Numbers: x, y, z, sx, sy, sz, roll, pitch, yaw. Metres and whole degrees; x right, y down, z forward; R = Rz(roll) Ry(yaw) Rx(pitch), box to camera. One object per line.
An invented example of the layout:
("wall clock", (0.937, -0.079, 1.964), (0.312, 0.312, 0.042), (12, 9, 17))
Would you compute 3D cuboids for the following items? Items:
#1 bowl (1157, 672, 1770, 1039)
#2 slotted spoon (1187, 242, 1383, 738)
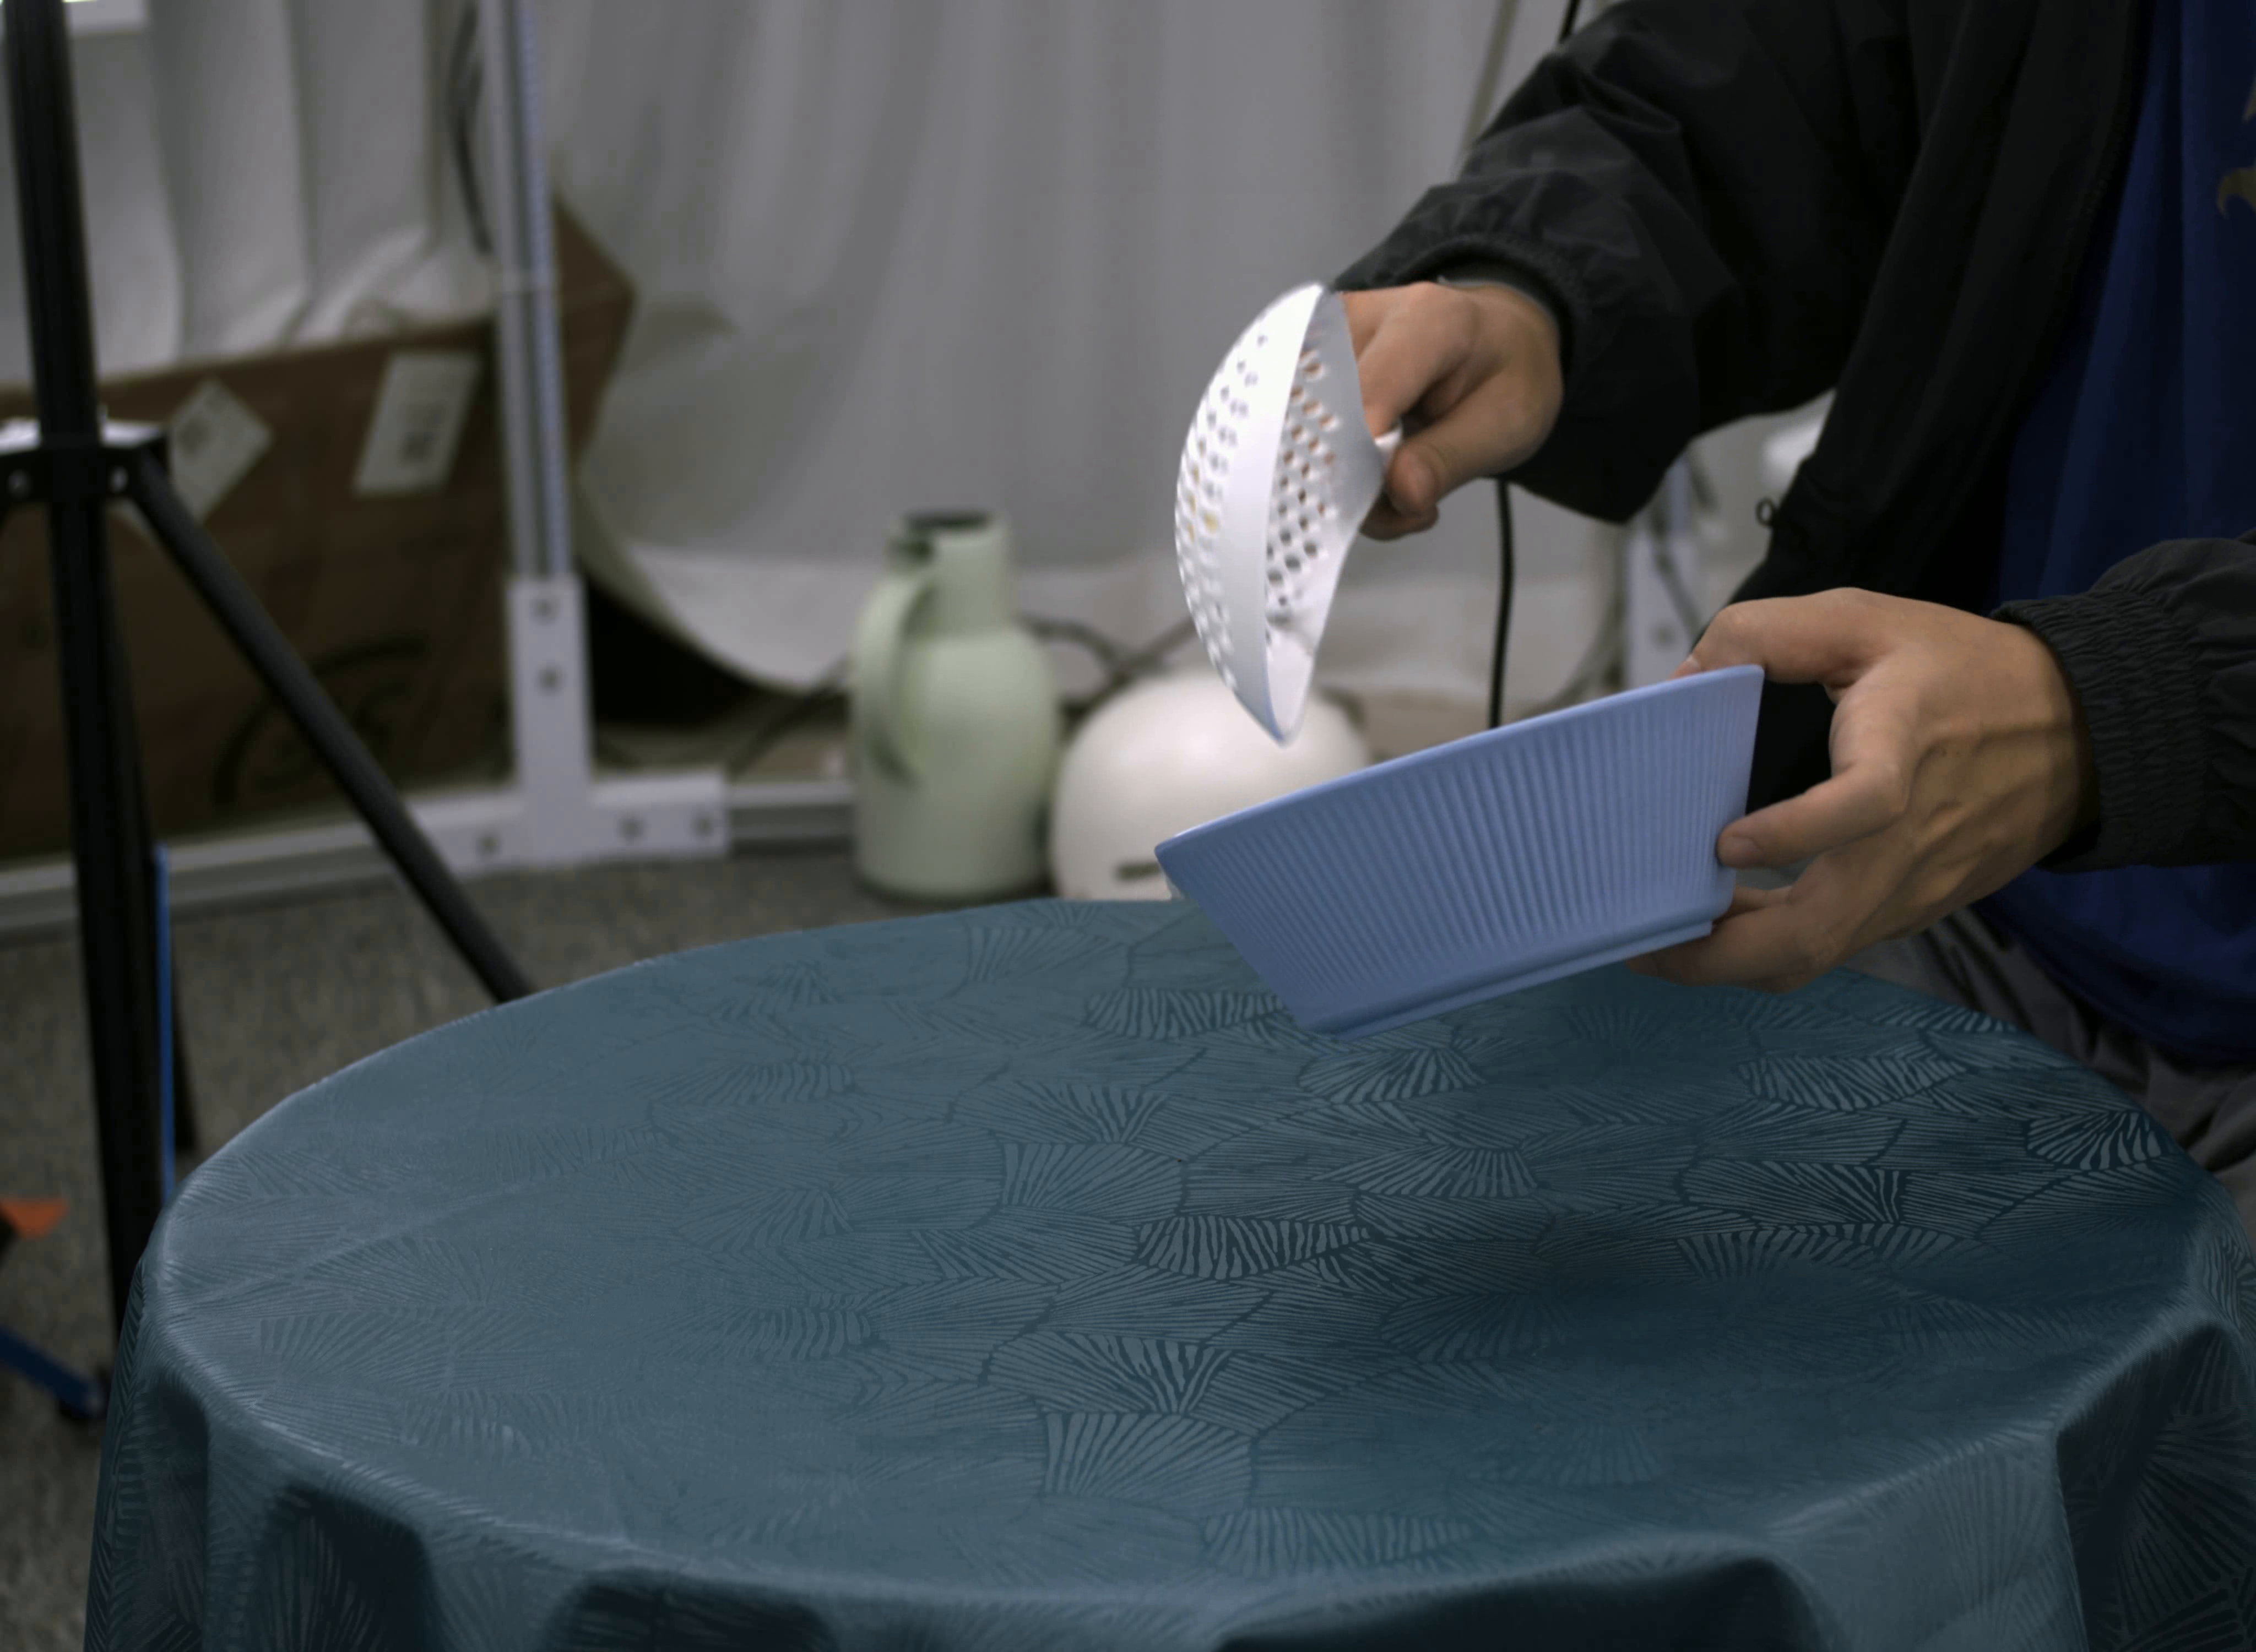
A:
("bowl", (0.100, 0.012, 1.466), (0.175, 0.071, 0.176), (-15, -4, -3))
("slotted spoon", (0.058, -0.109, 1.593), (0.050, 0.137, 0.345), (3, 8, 11))
